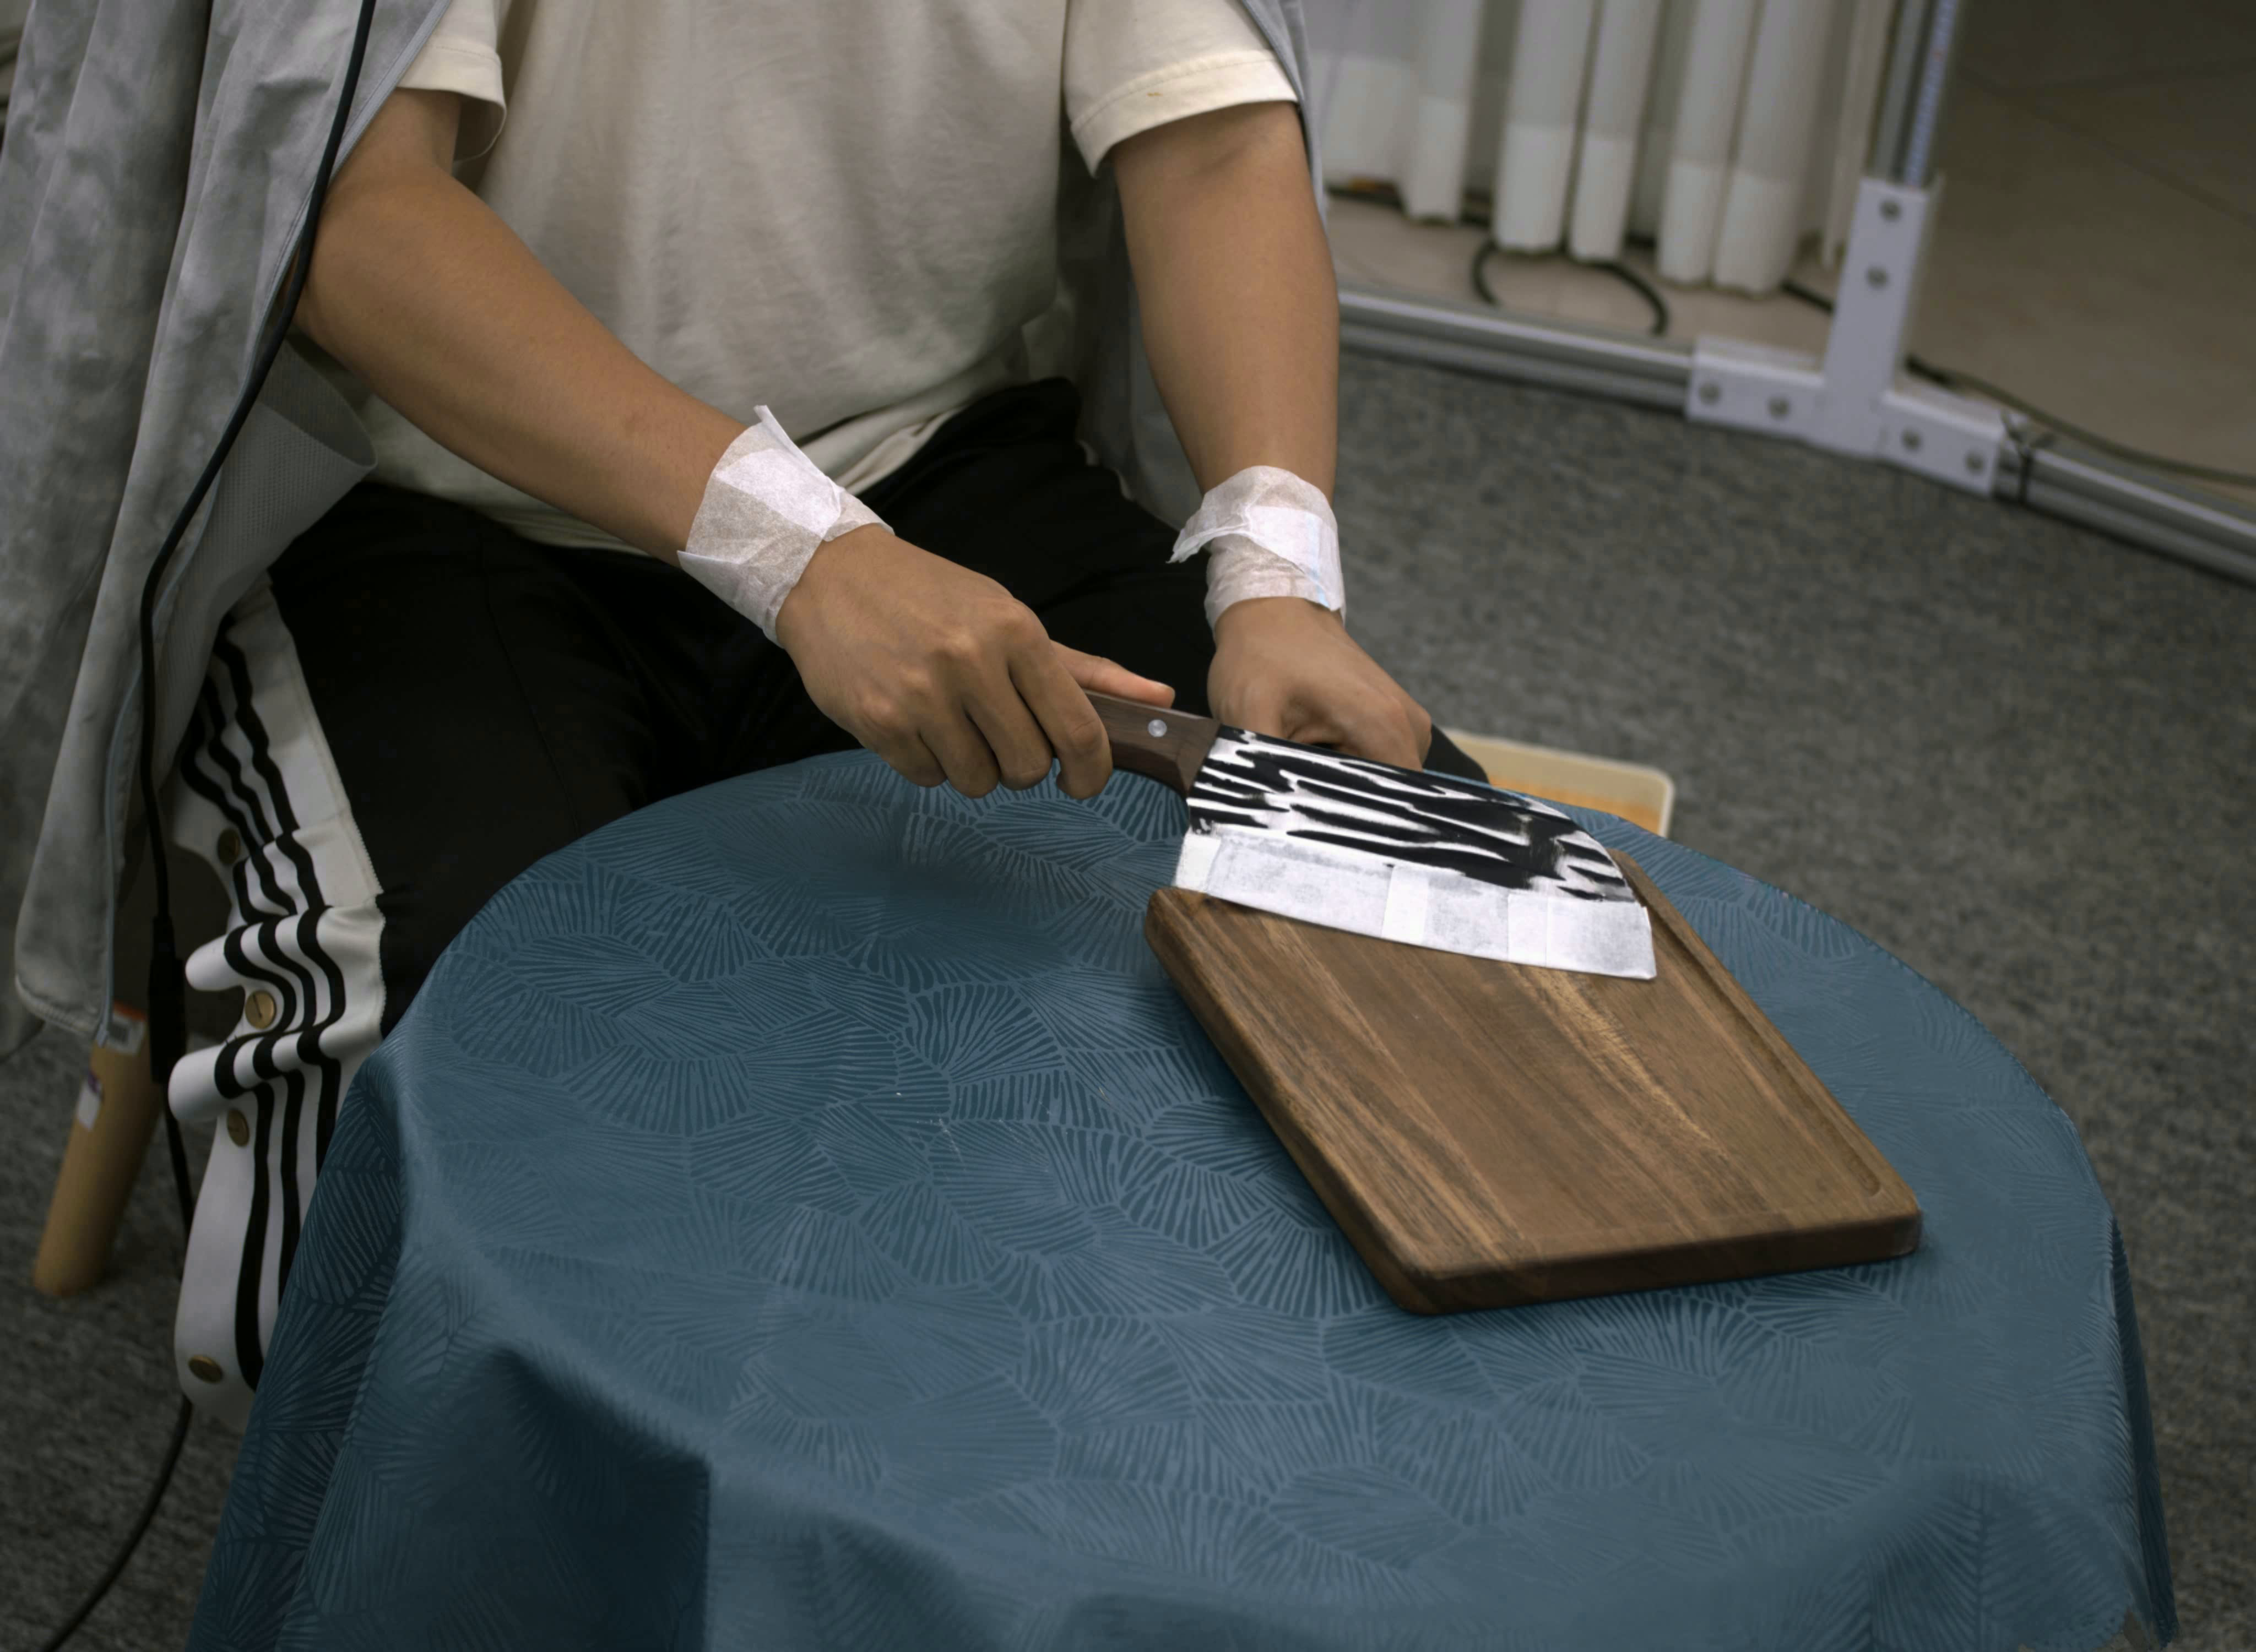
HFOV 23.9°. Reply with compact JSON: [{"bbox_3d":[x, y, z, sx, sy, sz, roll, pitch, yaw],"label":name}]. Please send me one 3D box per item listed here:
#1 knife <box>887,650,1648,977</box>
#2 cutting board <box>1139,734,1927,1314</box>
[{"bbox_3d":[0.049,-0.003,1.949,0.299,0.024,0.068,15,68,5],"label":"knife"},{"bbox_3d":[0.121,0.059,1.917,0.200,0.023,0.355,-5,31,-22],"label":"cutting board"}]
